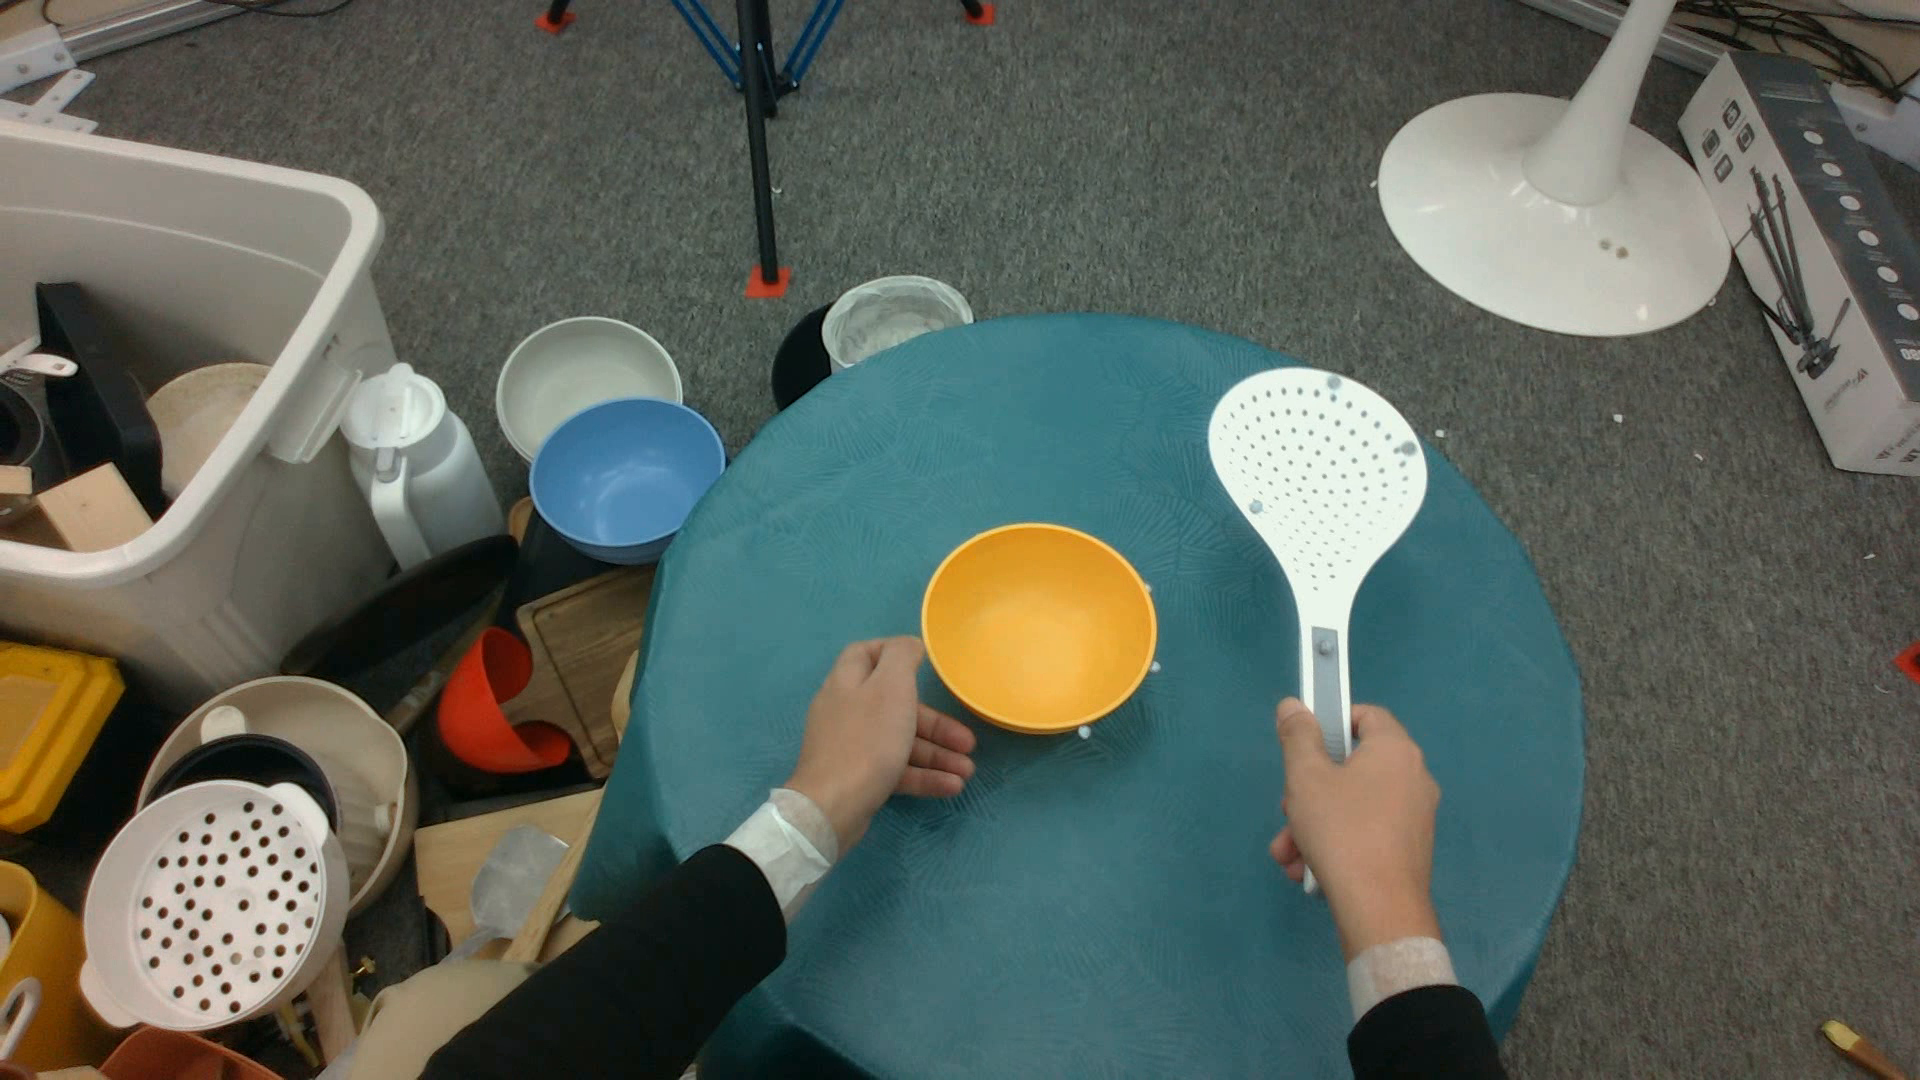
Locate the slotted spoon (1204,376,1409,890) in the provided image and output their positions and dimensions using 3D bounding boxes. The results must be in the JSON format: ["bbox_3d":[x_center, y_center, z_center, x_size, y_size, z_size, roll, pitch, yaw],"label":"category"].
[{"bbox_3d":[0.204,0.039,0.818,0.136,0.045,0.351,12,50,-4],"label":"slotted spoon"}]

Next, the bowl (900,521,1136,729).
[{"bbox_3d":[0.034,0.062,0.857,0.145,0.060,0.146,2,54,-2],"label":"bowl"}]
